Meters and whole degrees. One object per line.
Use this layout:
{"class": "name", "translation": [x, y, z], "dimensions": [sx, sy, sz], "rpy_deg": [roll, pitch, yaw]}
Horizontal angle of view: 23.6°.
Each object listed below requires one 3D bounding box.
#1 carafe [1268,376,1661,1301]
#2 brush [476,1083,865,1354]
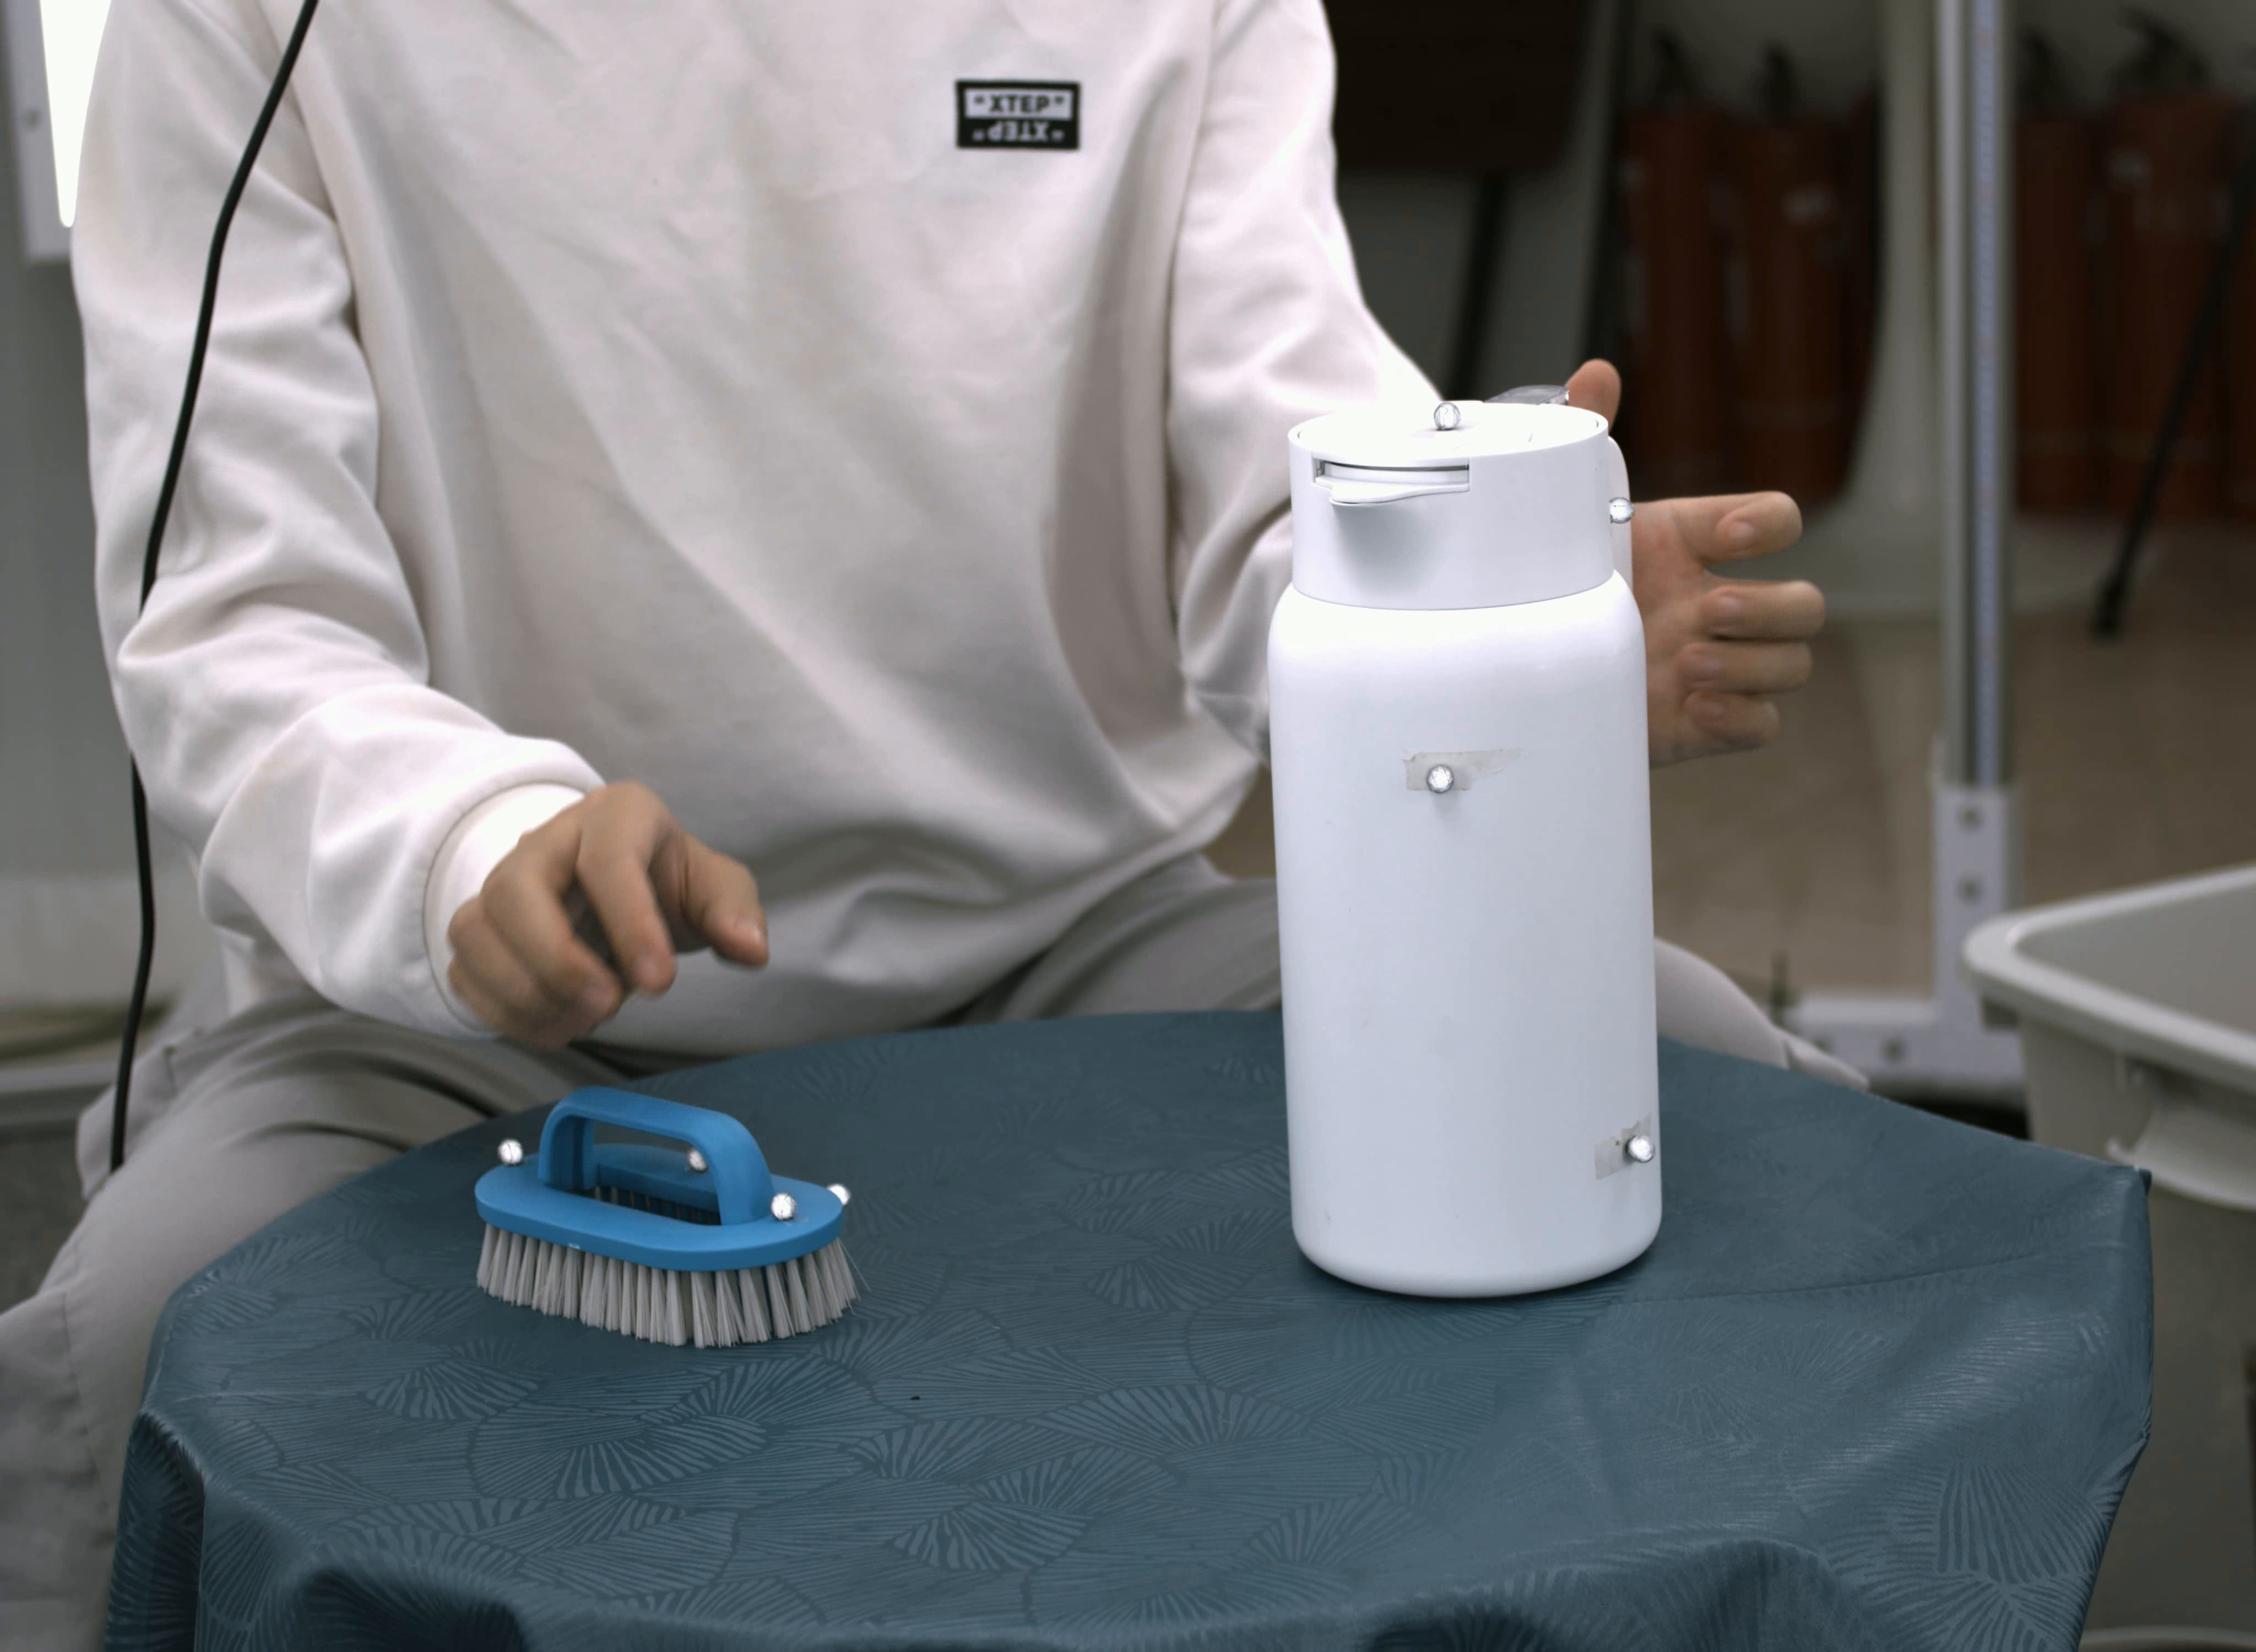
{"class": "carafe", "translation": [0.111, 0.000, 1.678], "dimensions": [0.124, 0.272, 0.170], "rpy_deg": [2, 13, 29]}
{"class": "brush", "translation": [-0.147, 0.116, 1.699], "dimensions": [0.143, 0.064, 0.083], "rpy_deg": [9, 23, 44]}
